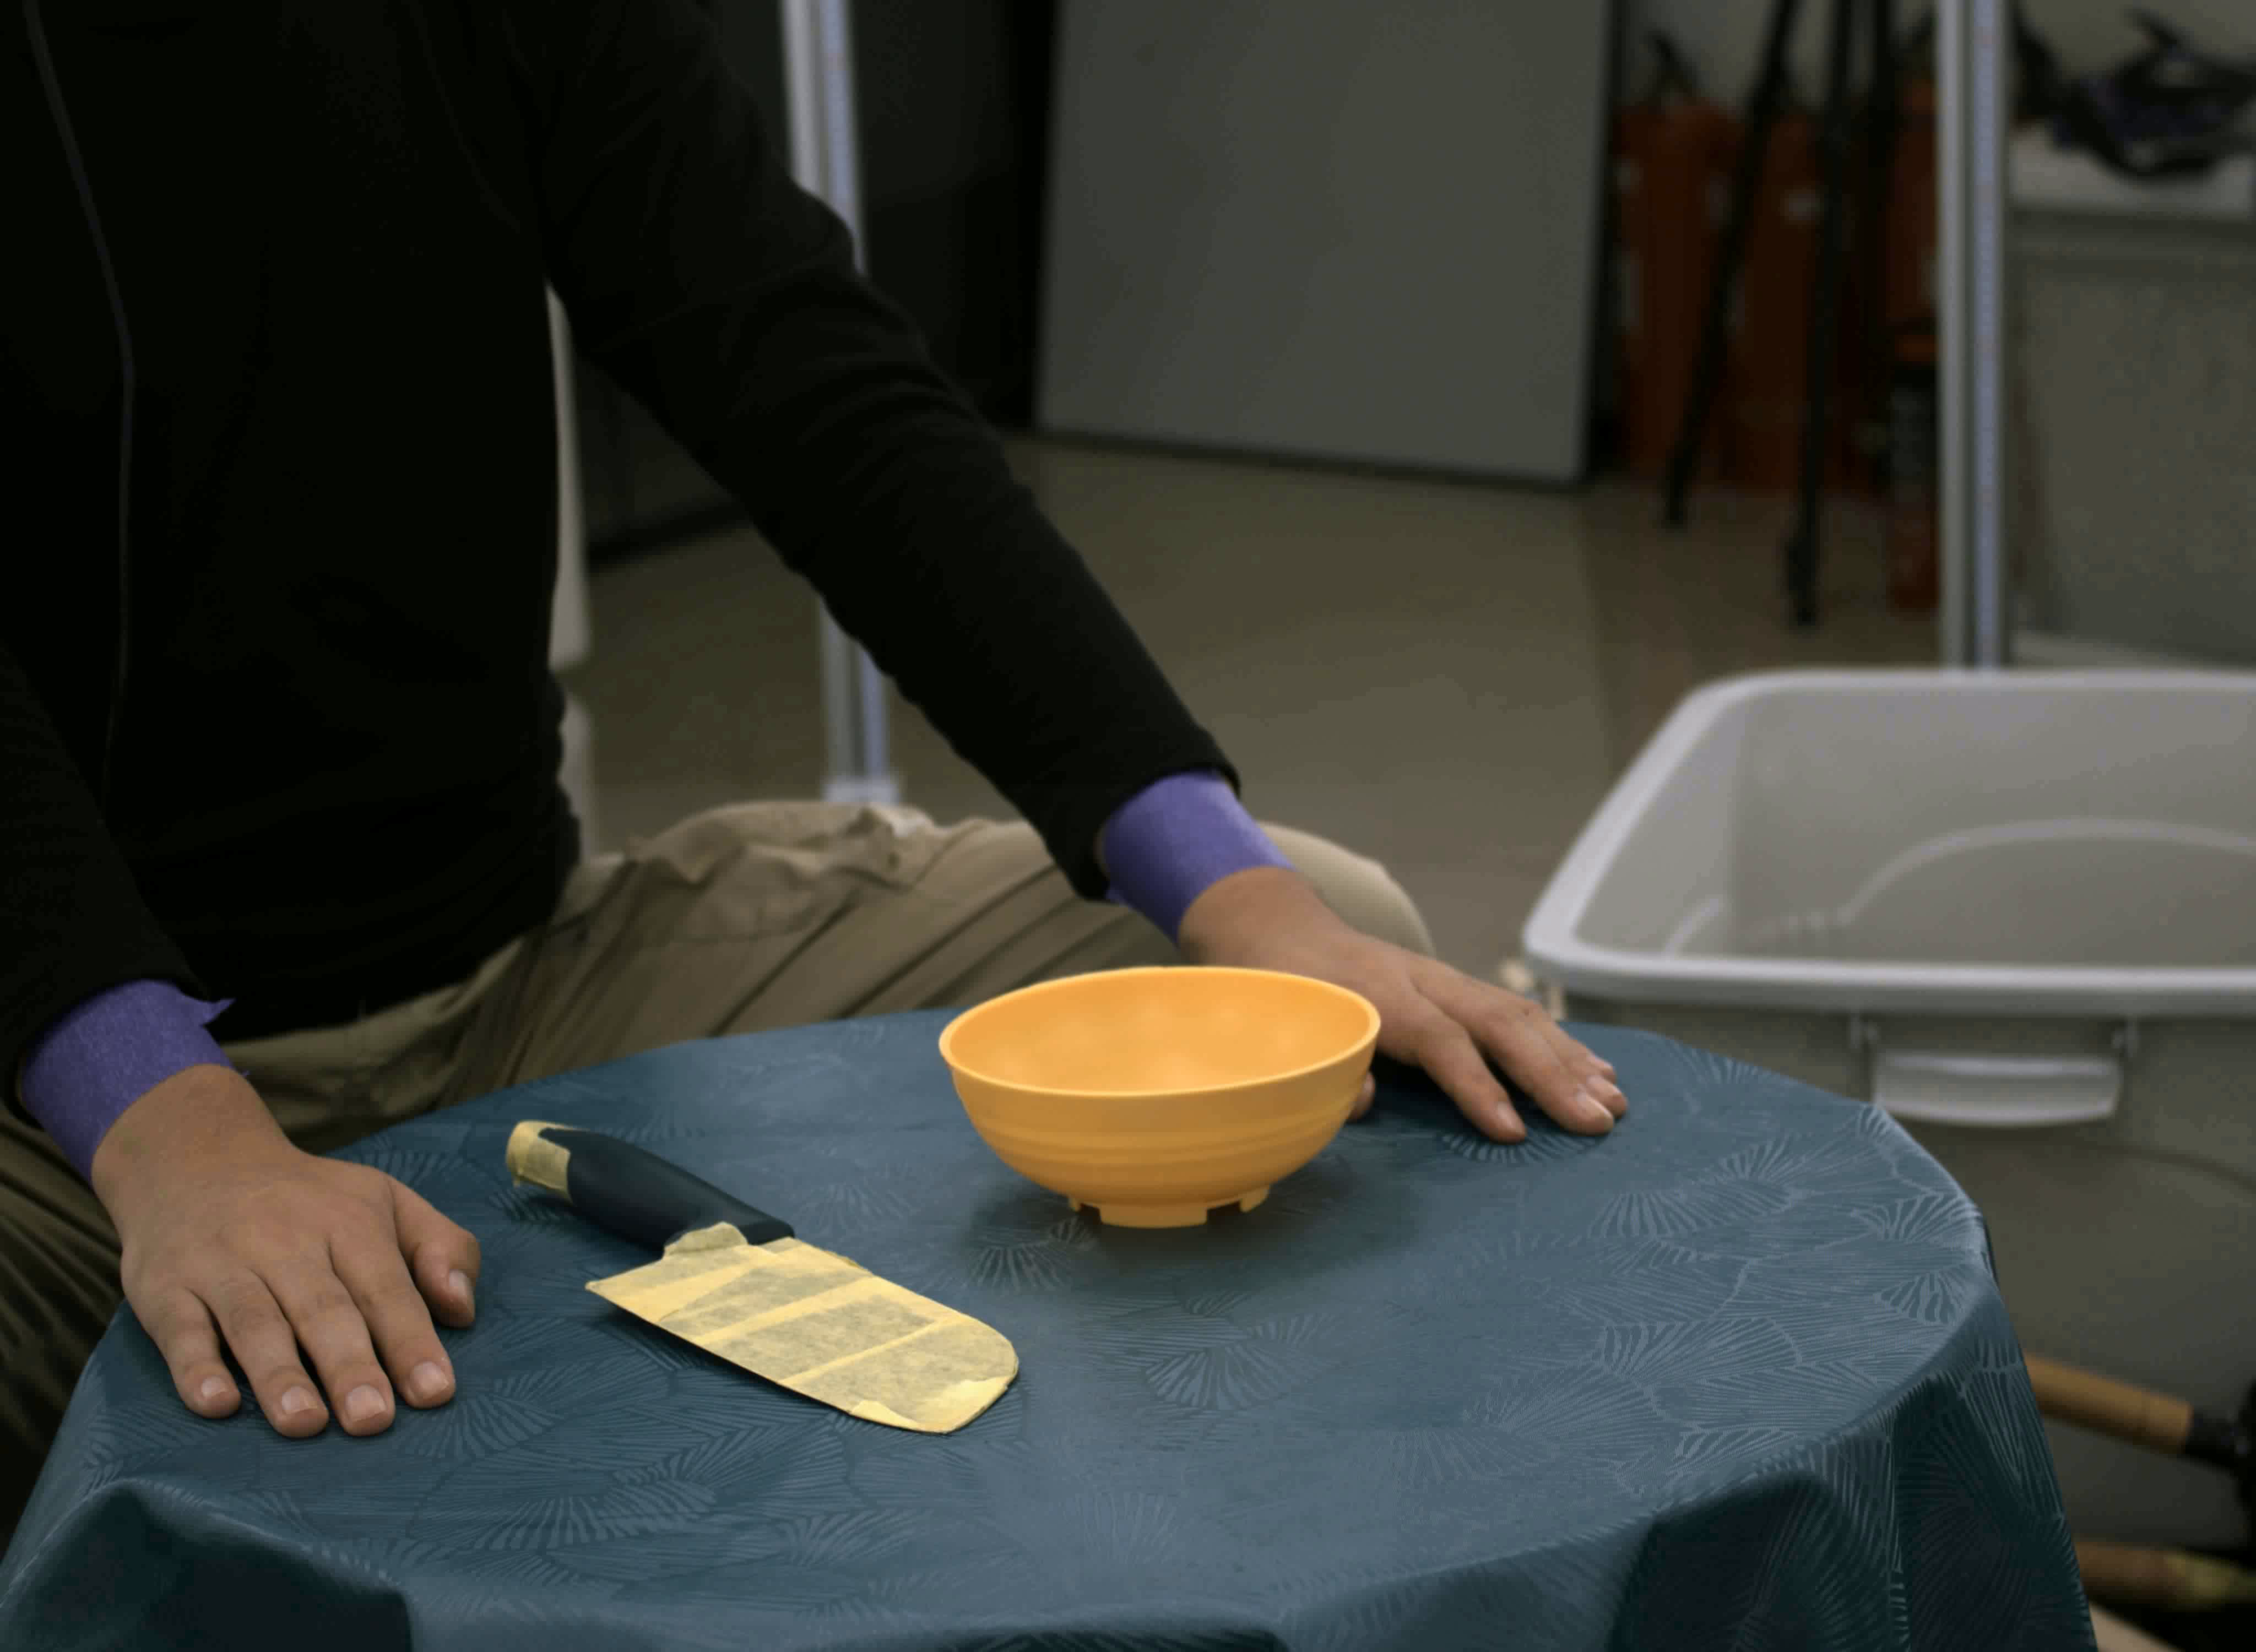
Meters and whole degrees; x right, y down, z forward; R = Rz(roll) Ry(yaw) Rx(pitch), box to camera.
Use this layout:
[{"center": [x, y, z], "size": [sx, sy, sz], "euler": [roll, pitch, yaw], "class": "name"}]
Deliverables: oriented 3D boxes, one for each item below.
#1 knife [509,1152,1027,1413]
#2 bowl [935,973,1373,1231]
[{"center": [-0.125, 0.144, 1.691], "size": [0.079, 0.027, 0.292], "euler": [-12, 17, -33], "class": "knife"}, {"center": [0.009, 0.094, 1.759], "size": [0.143, 0.061, 0.145], "euler": [-2, 13, 0], "class": "bowl"}]
